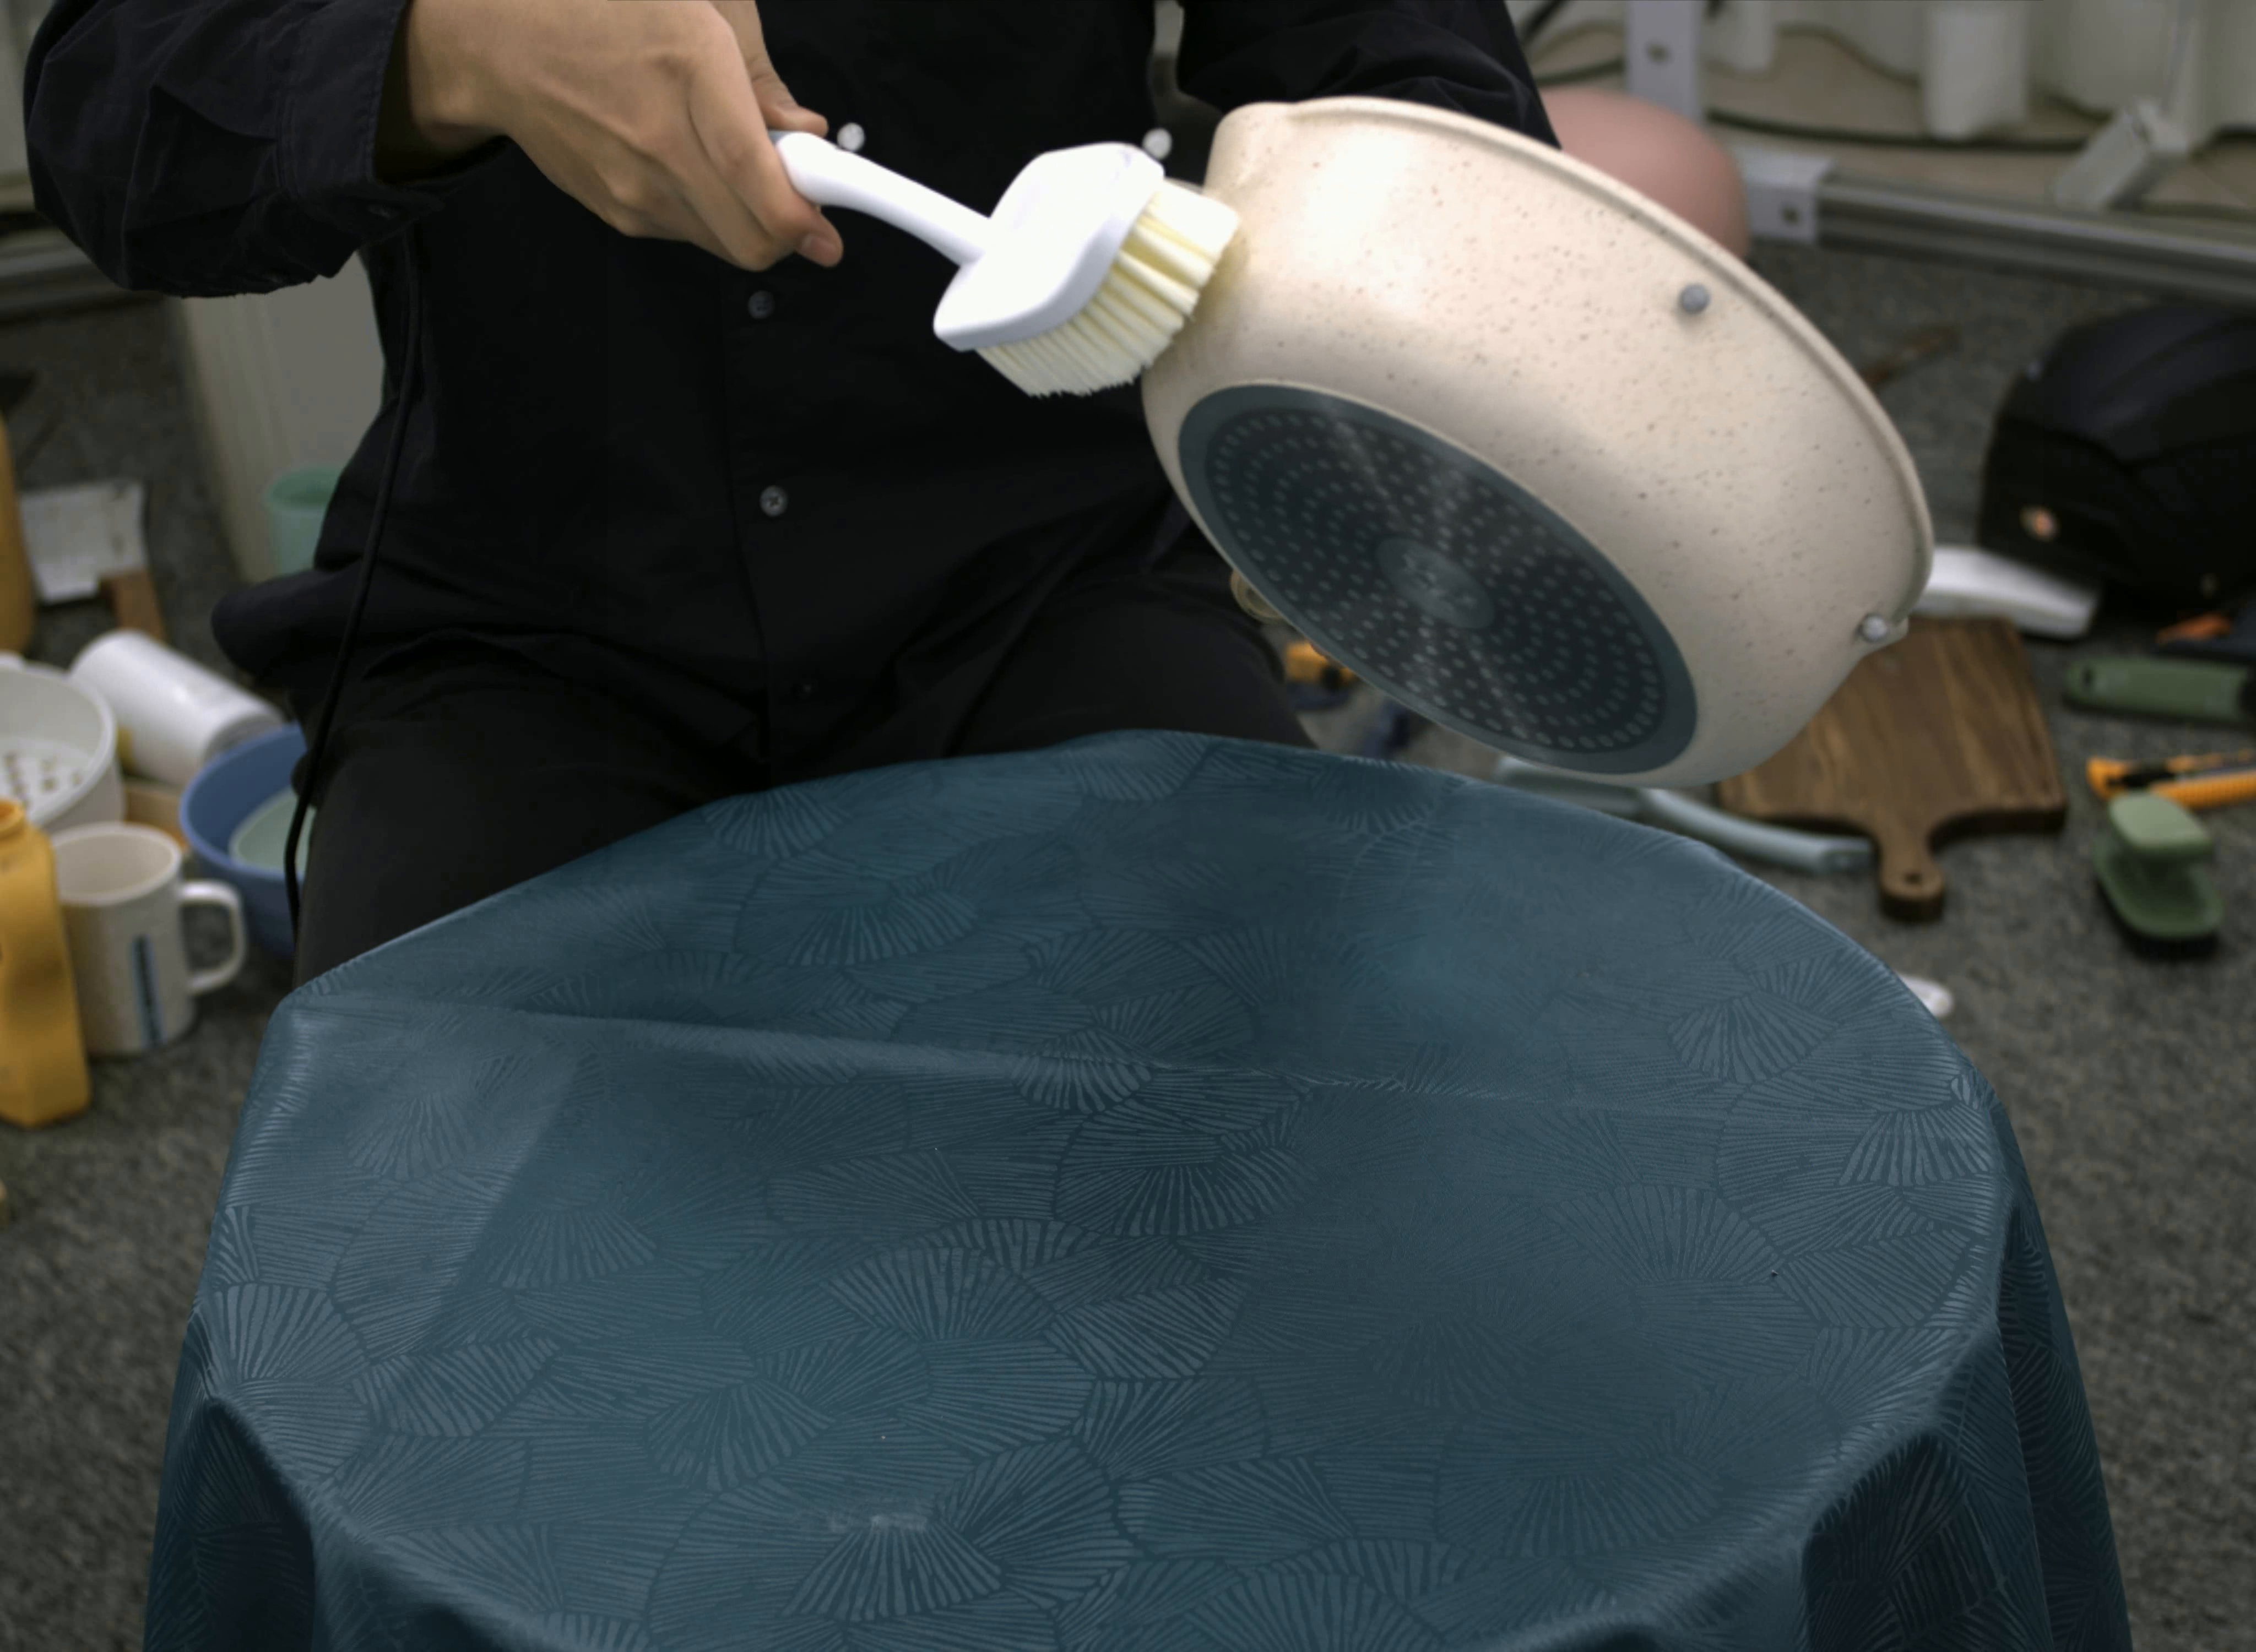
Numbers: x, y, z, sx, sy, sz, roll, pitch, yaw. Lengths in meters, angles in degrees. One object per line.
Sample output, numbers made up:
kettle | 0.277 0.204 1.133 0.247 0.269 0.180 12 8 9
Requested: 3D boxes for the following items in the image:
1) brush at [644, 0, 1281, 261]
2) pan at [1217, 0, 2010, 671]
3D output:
brush | -0.044 -0.227 1.789 0.084 0.084 0.324 -27 22 -27
pan | 0.112 -0.128 1.807 0.103 0.262 0.430 -58 9 -21
